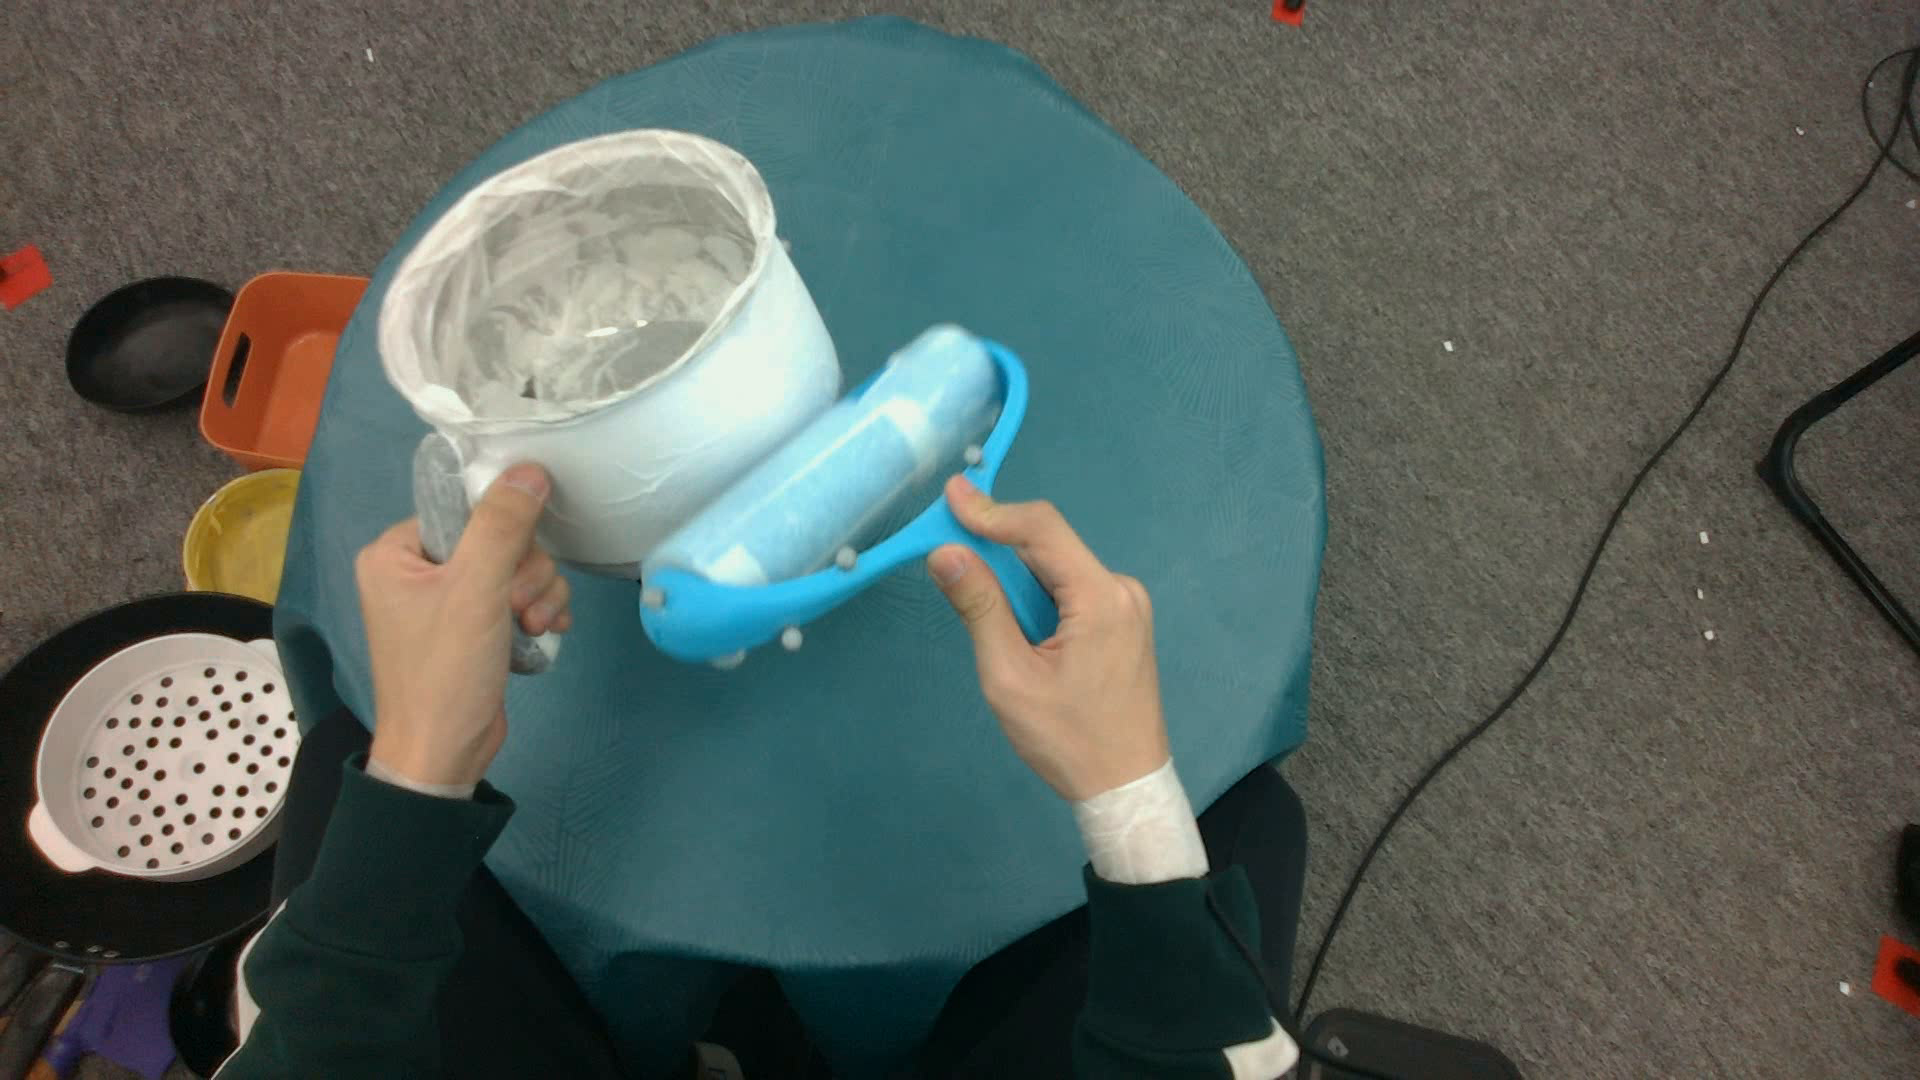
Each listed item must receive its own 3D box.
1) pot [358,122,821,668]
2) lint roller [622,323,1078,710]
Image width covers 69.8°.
[{"bbox_3d":[-0.171,-0.063,0.624,0.178,0.136,0.235,11,58,22],"label":"pot"},{"bbox_3d":[-0.015,0.002,0.599,0.180,0.067,0.230,32,46,6],"label":"lint roller"}]
